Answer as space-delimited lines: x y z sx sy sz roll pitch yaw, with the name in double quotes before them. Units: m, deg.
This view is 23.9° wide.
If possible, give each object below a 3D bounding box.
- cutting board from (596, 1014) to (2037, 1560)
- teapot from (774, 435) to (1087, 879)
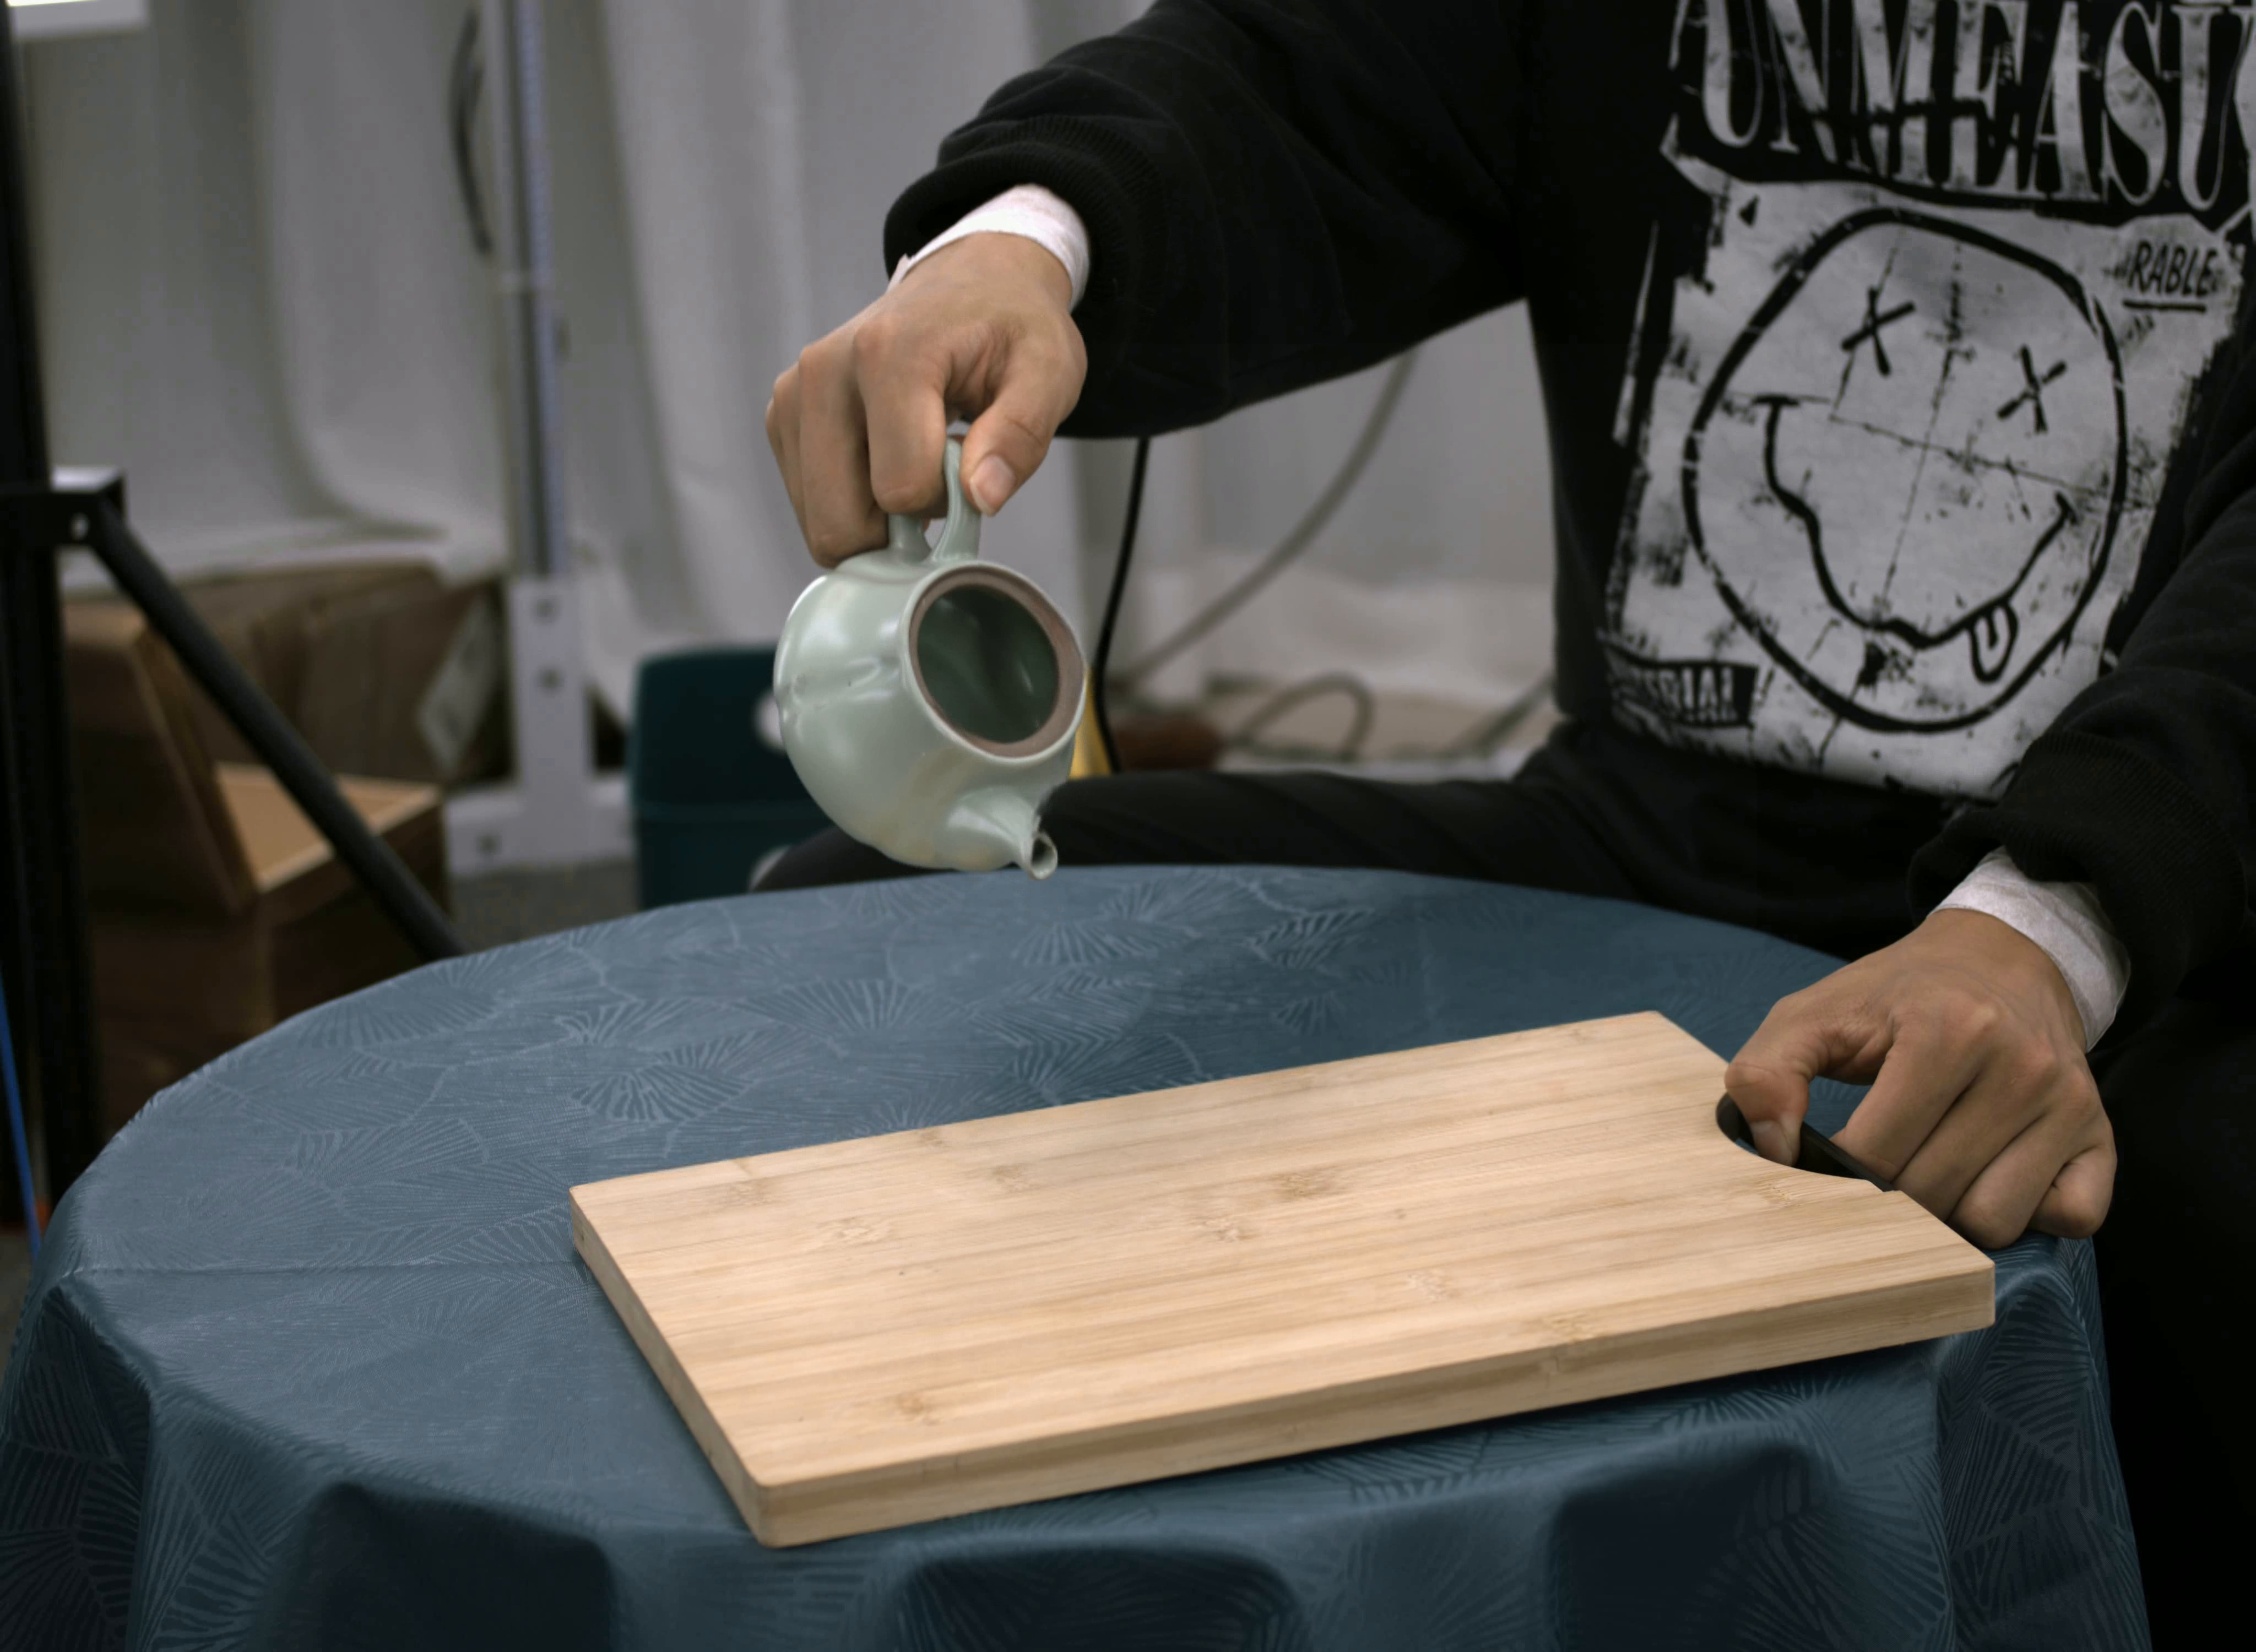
"cutting board" 0.041 0.119 1.463 0.343 0.023 0.255 -9 17 -15
"teapot" -0.052 -0.042 1.518 0.094 0.138 0.062 -5 -16 -34
